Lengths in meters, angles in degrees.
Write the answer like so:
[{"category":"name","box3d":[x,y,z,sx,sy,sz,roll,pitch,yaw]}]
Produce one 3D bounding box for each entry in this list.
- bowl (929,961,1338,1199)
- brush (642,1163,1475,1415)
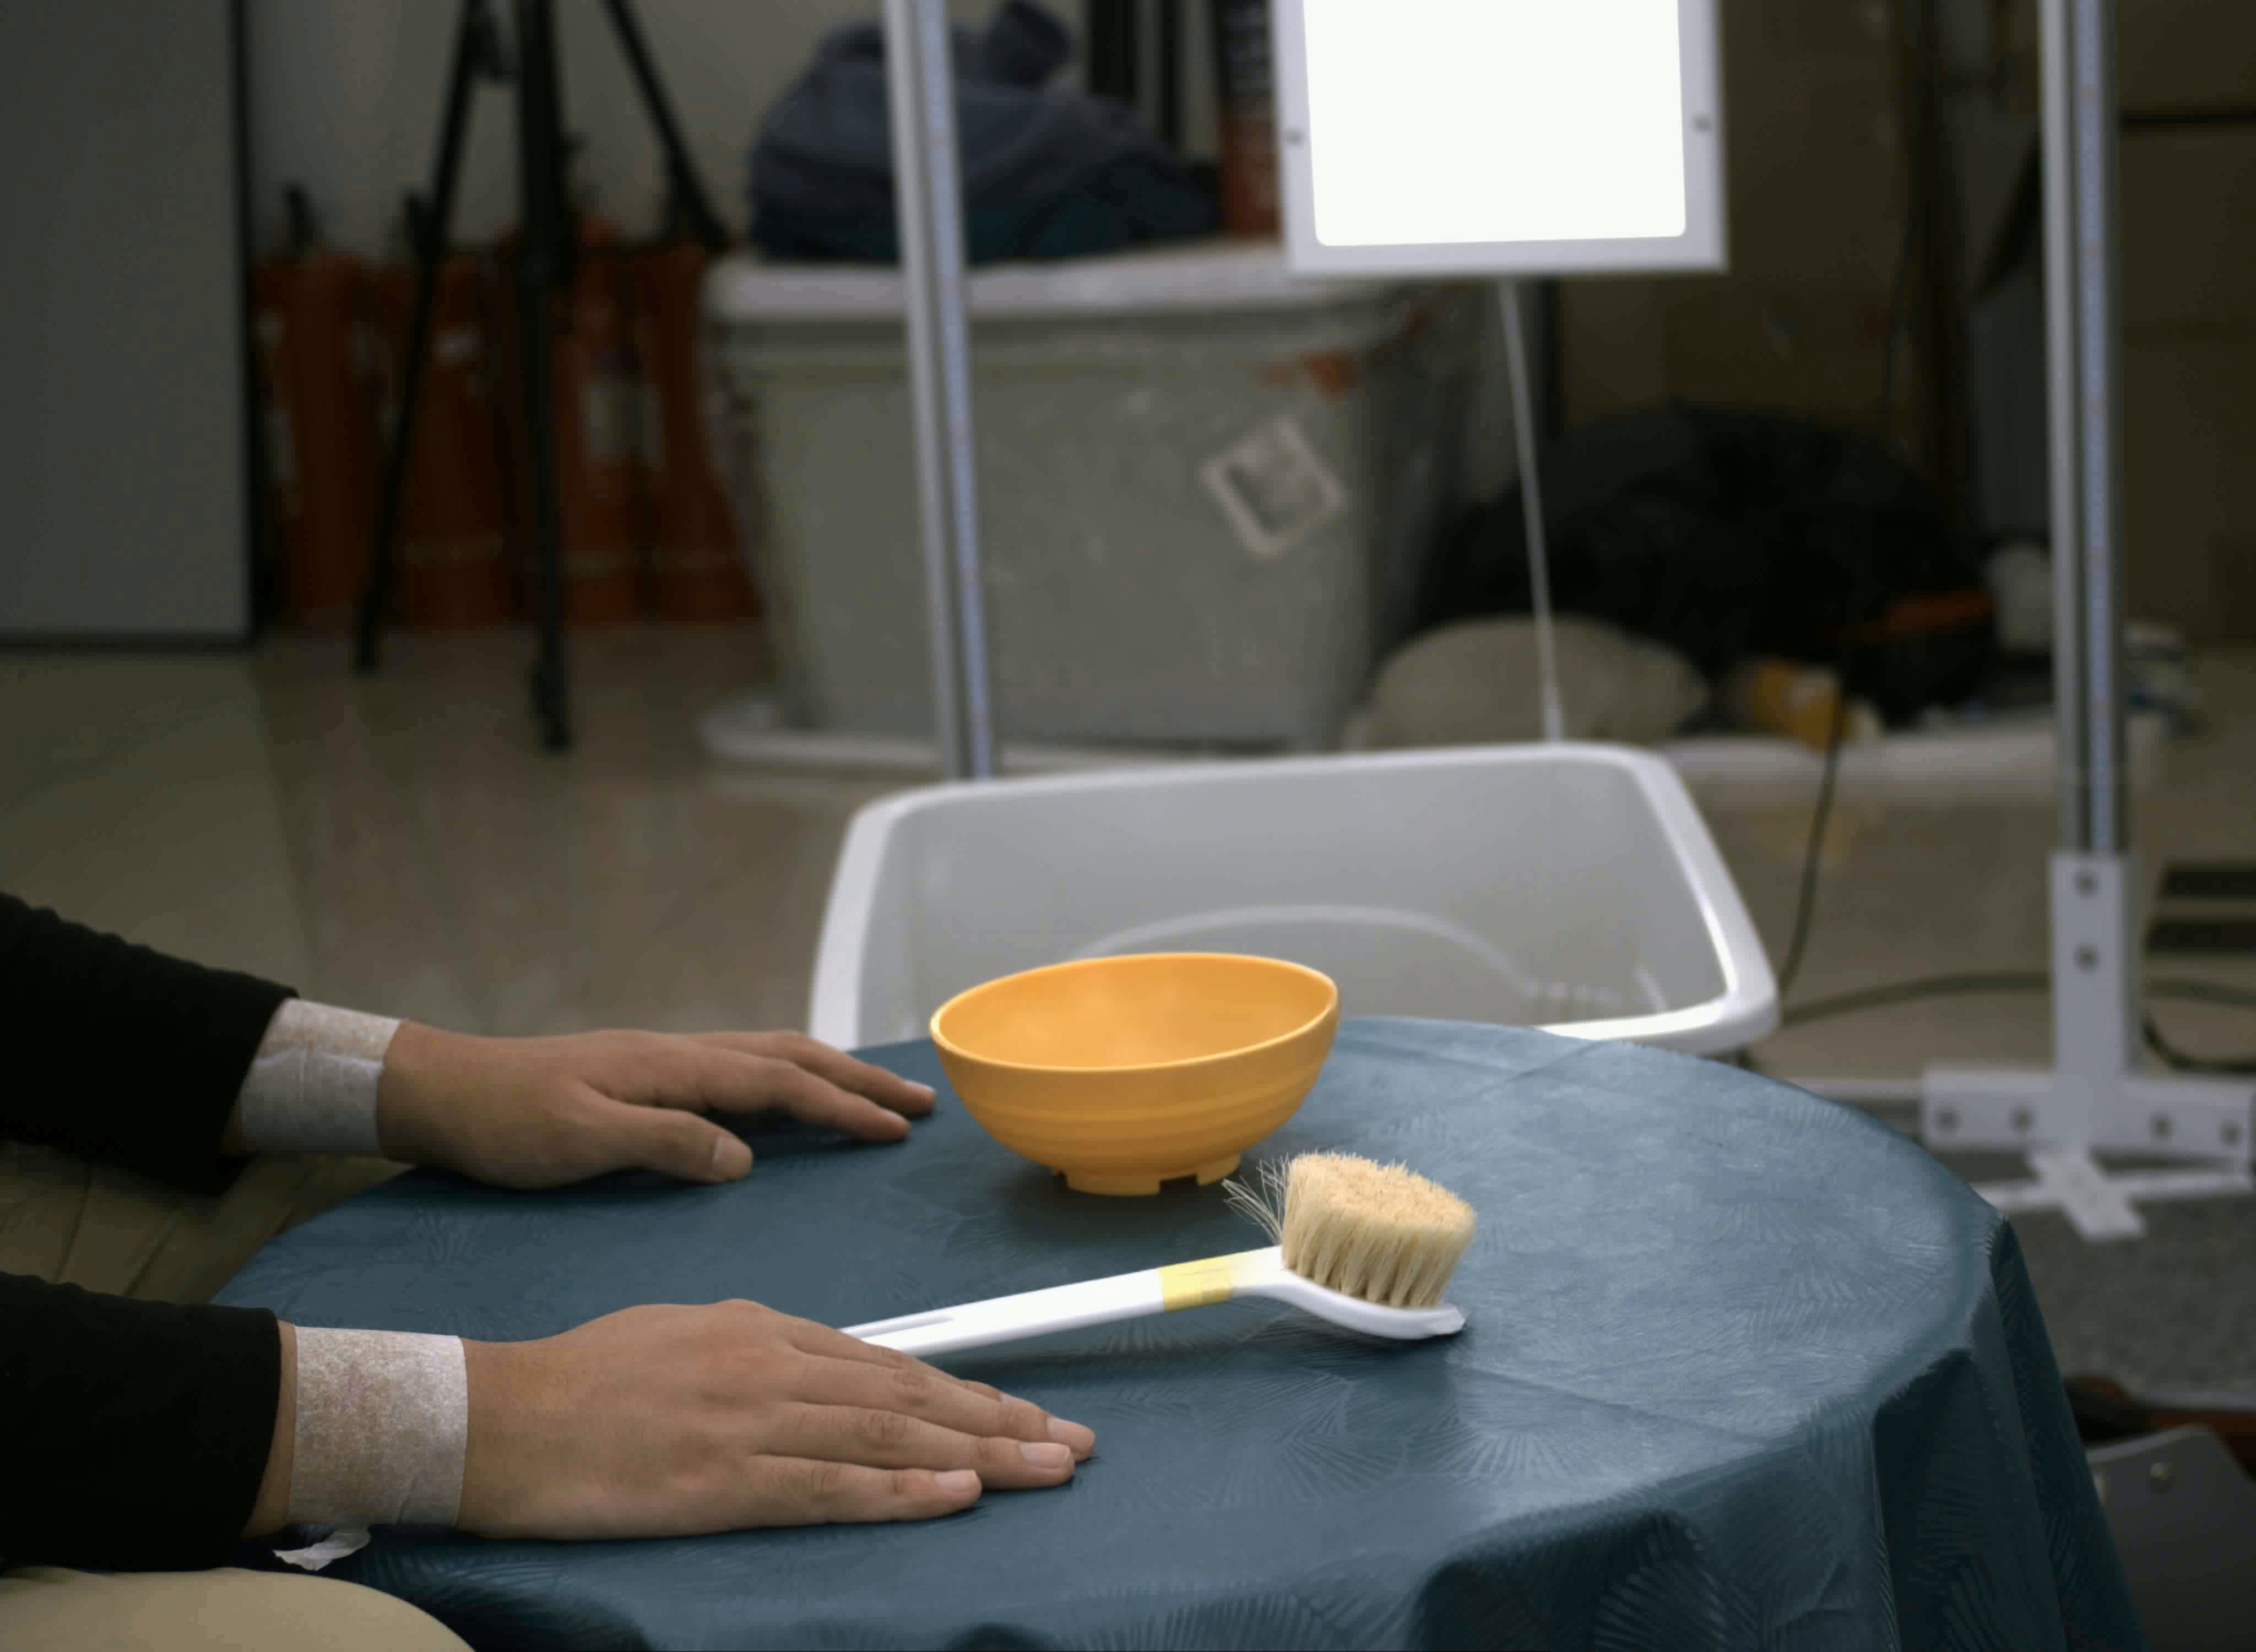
[{"category":"bowl","box3d":[0.005,0.092,1.916,0.145,0.060,0.145,-6,13,0]},{"category":"brush","box3d":[-0.022,0.144,1.723,0.266,0.056,0.068,-6,9,1]}]
